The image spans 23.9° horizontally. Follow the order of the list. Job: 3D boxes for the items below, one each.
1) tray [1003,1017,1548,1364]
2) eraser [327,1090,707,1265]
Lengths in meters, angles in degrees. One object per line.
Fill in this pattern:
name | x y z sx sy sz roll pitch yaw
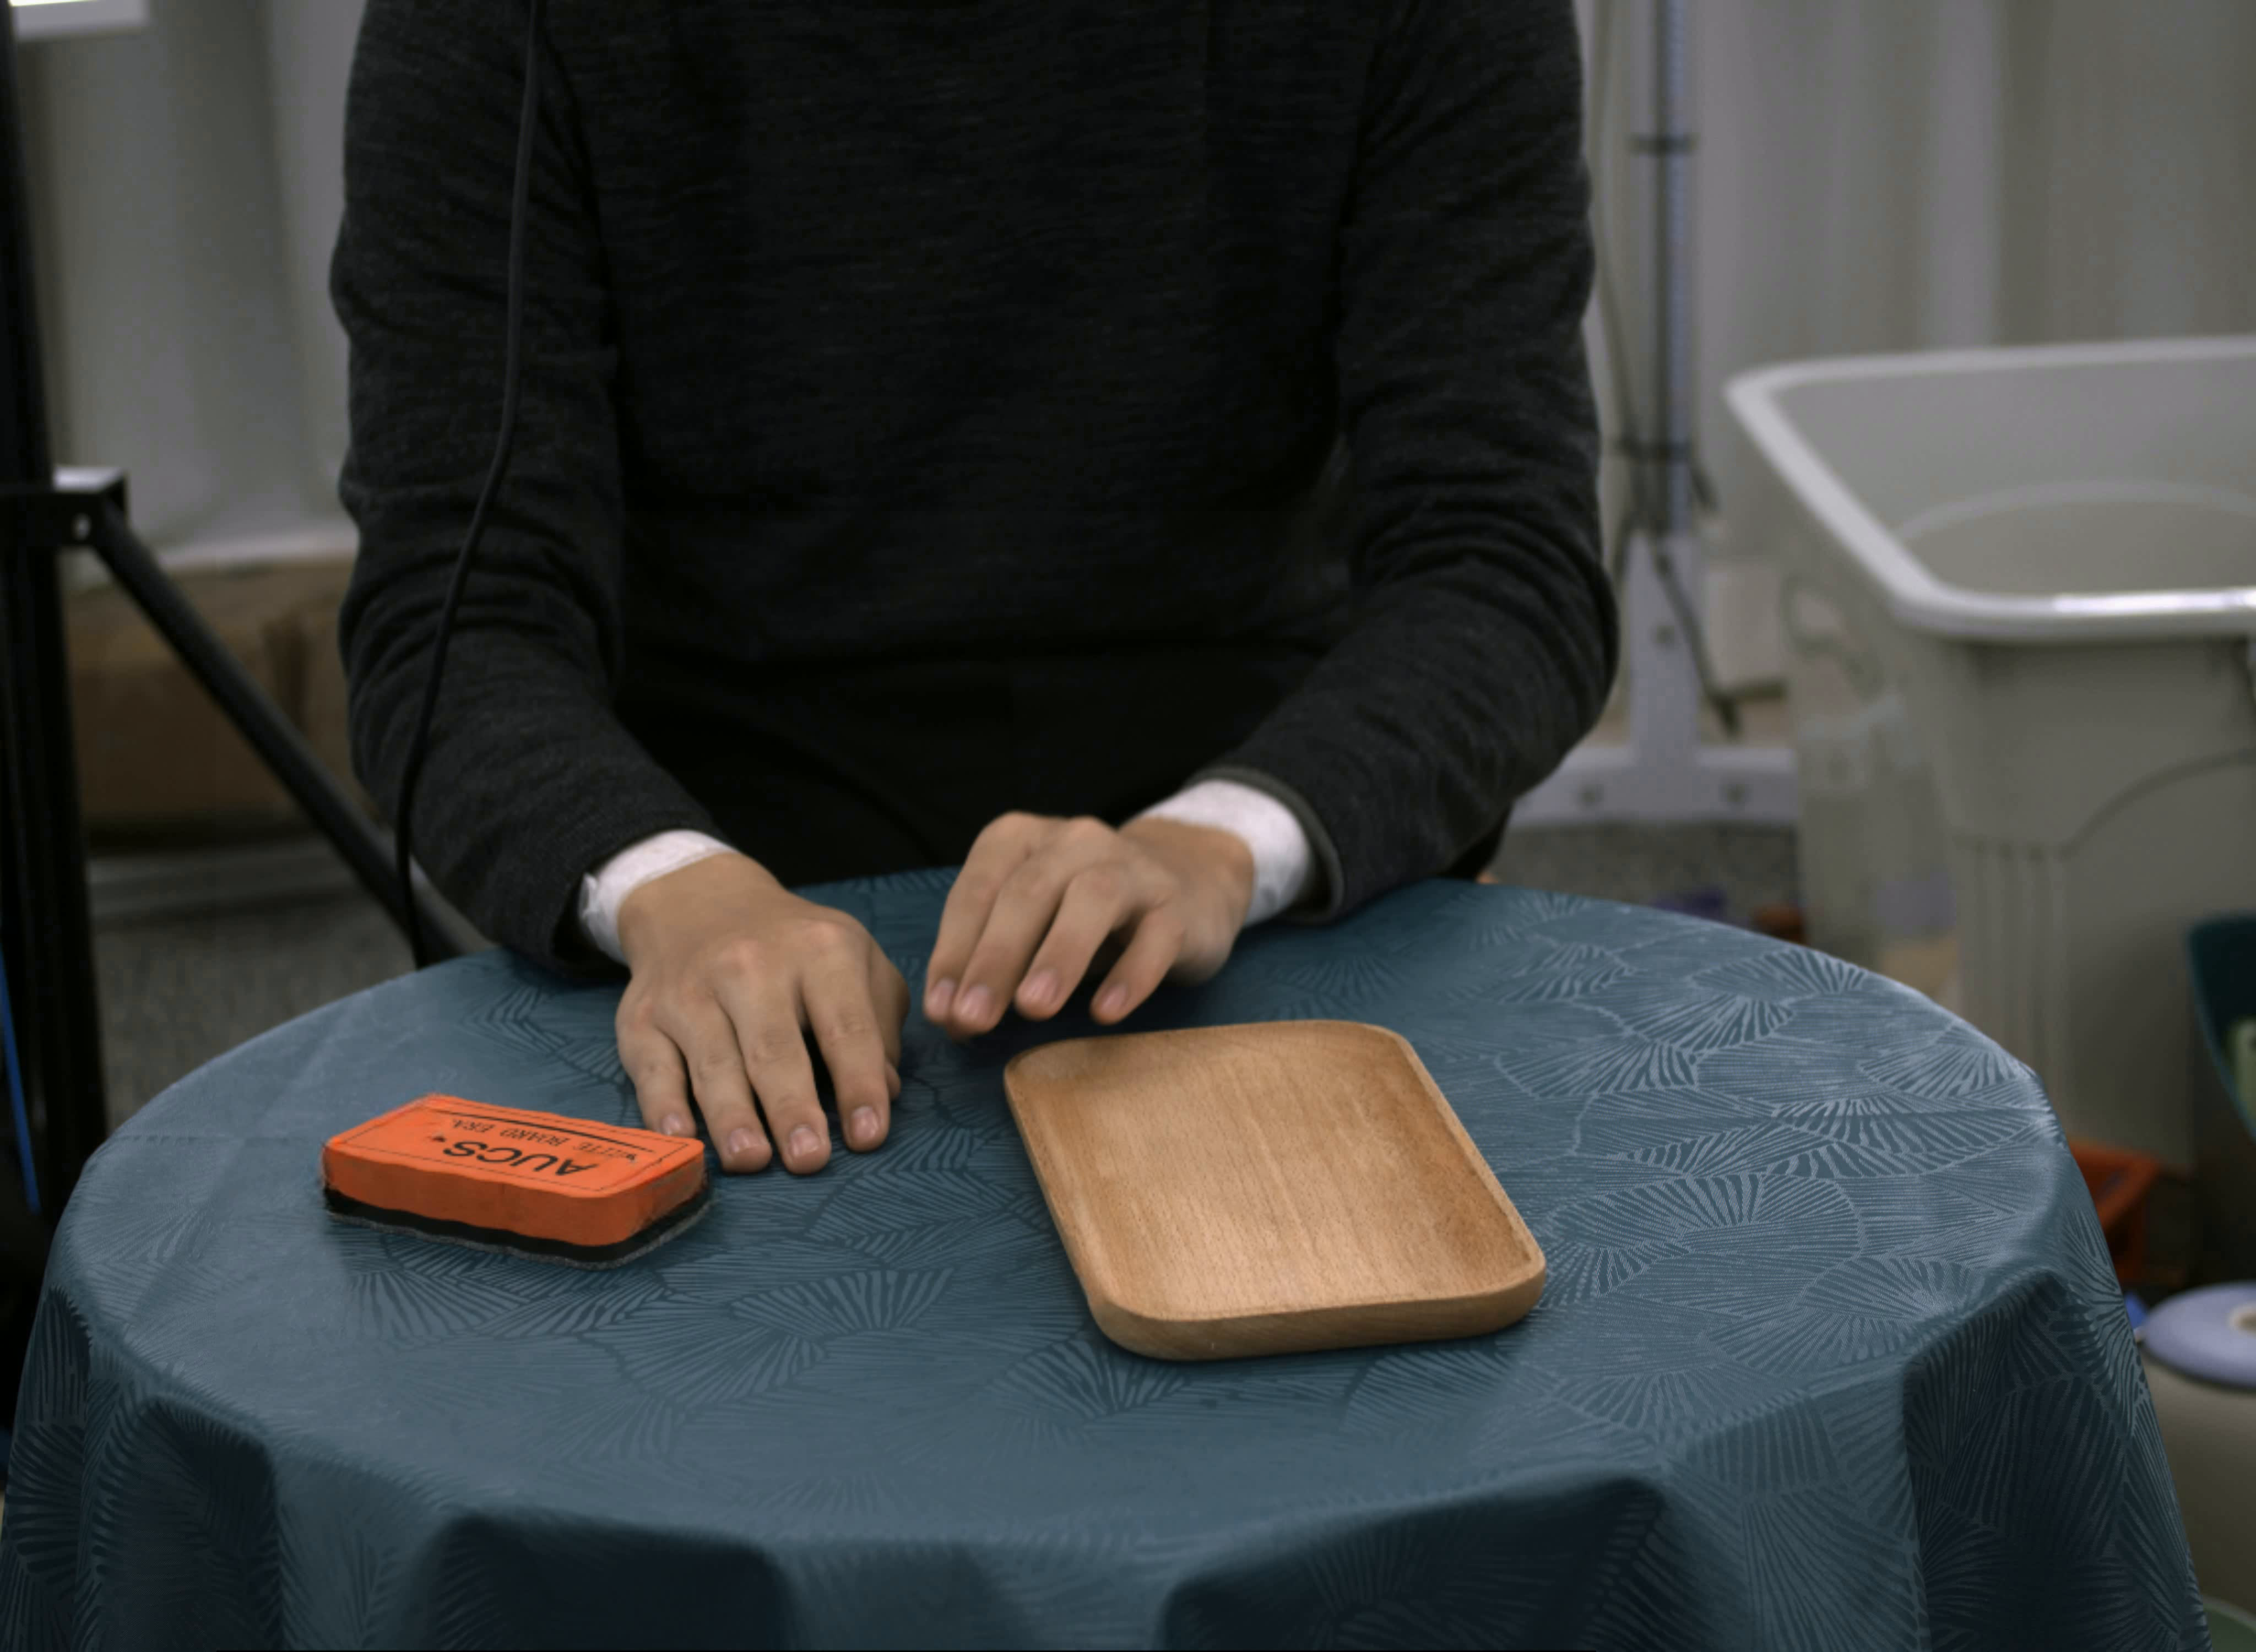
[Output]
tray | 0.039 0.103 1.538 0.129 0.023 0.253 -2 15 -6
eraser | -0.178 0.102 1.560 0.110 0.023 0.058 8 18 34
